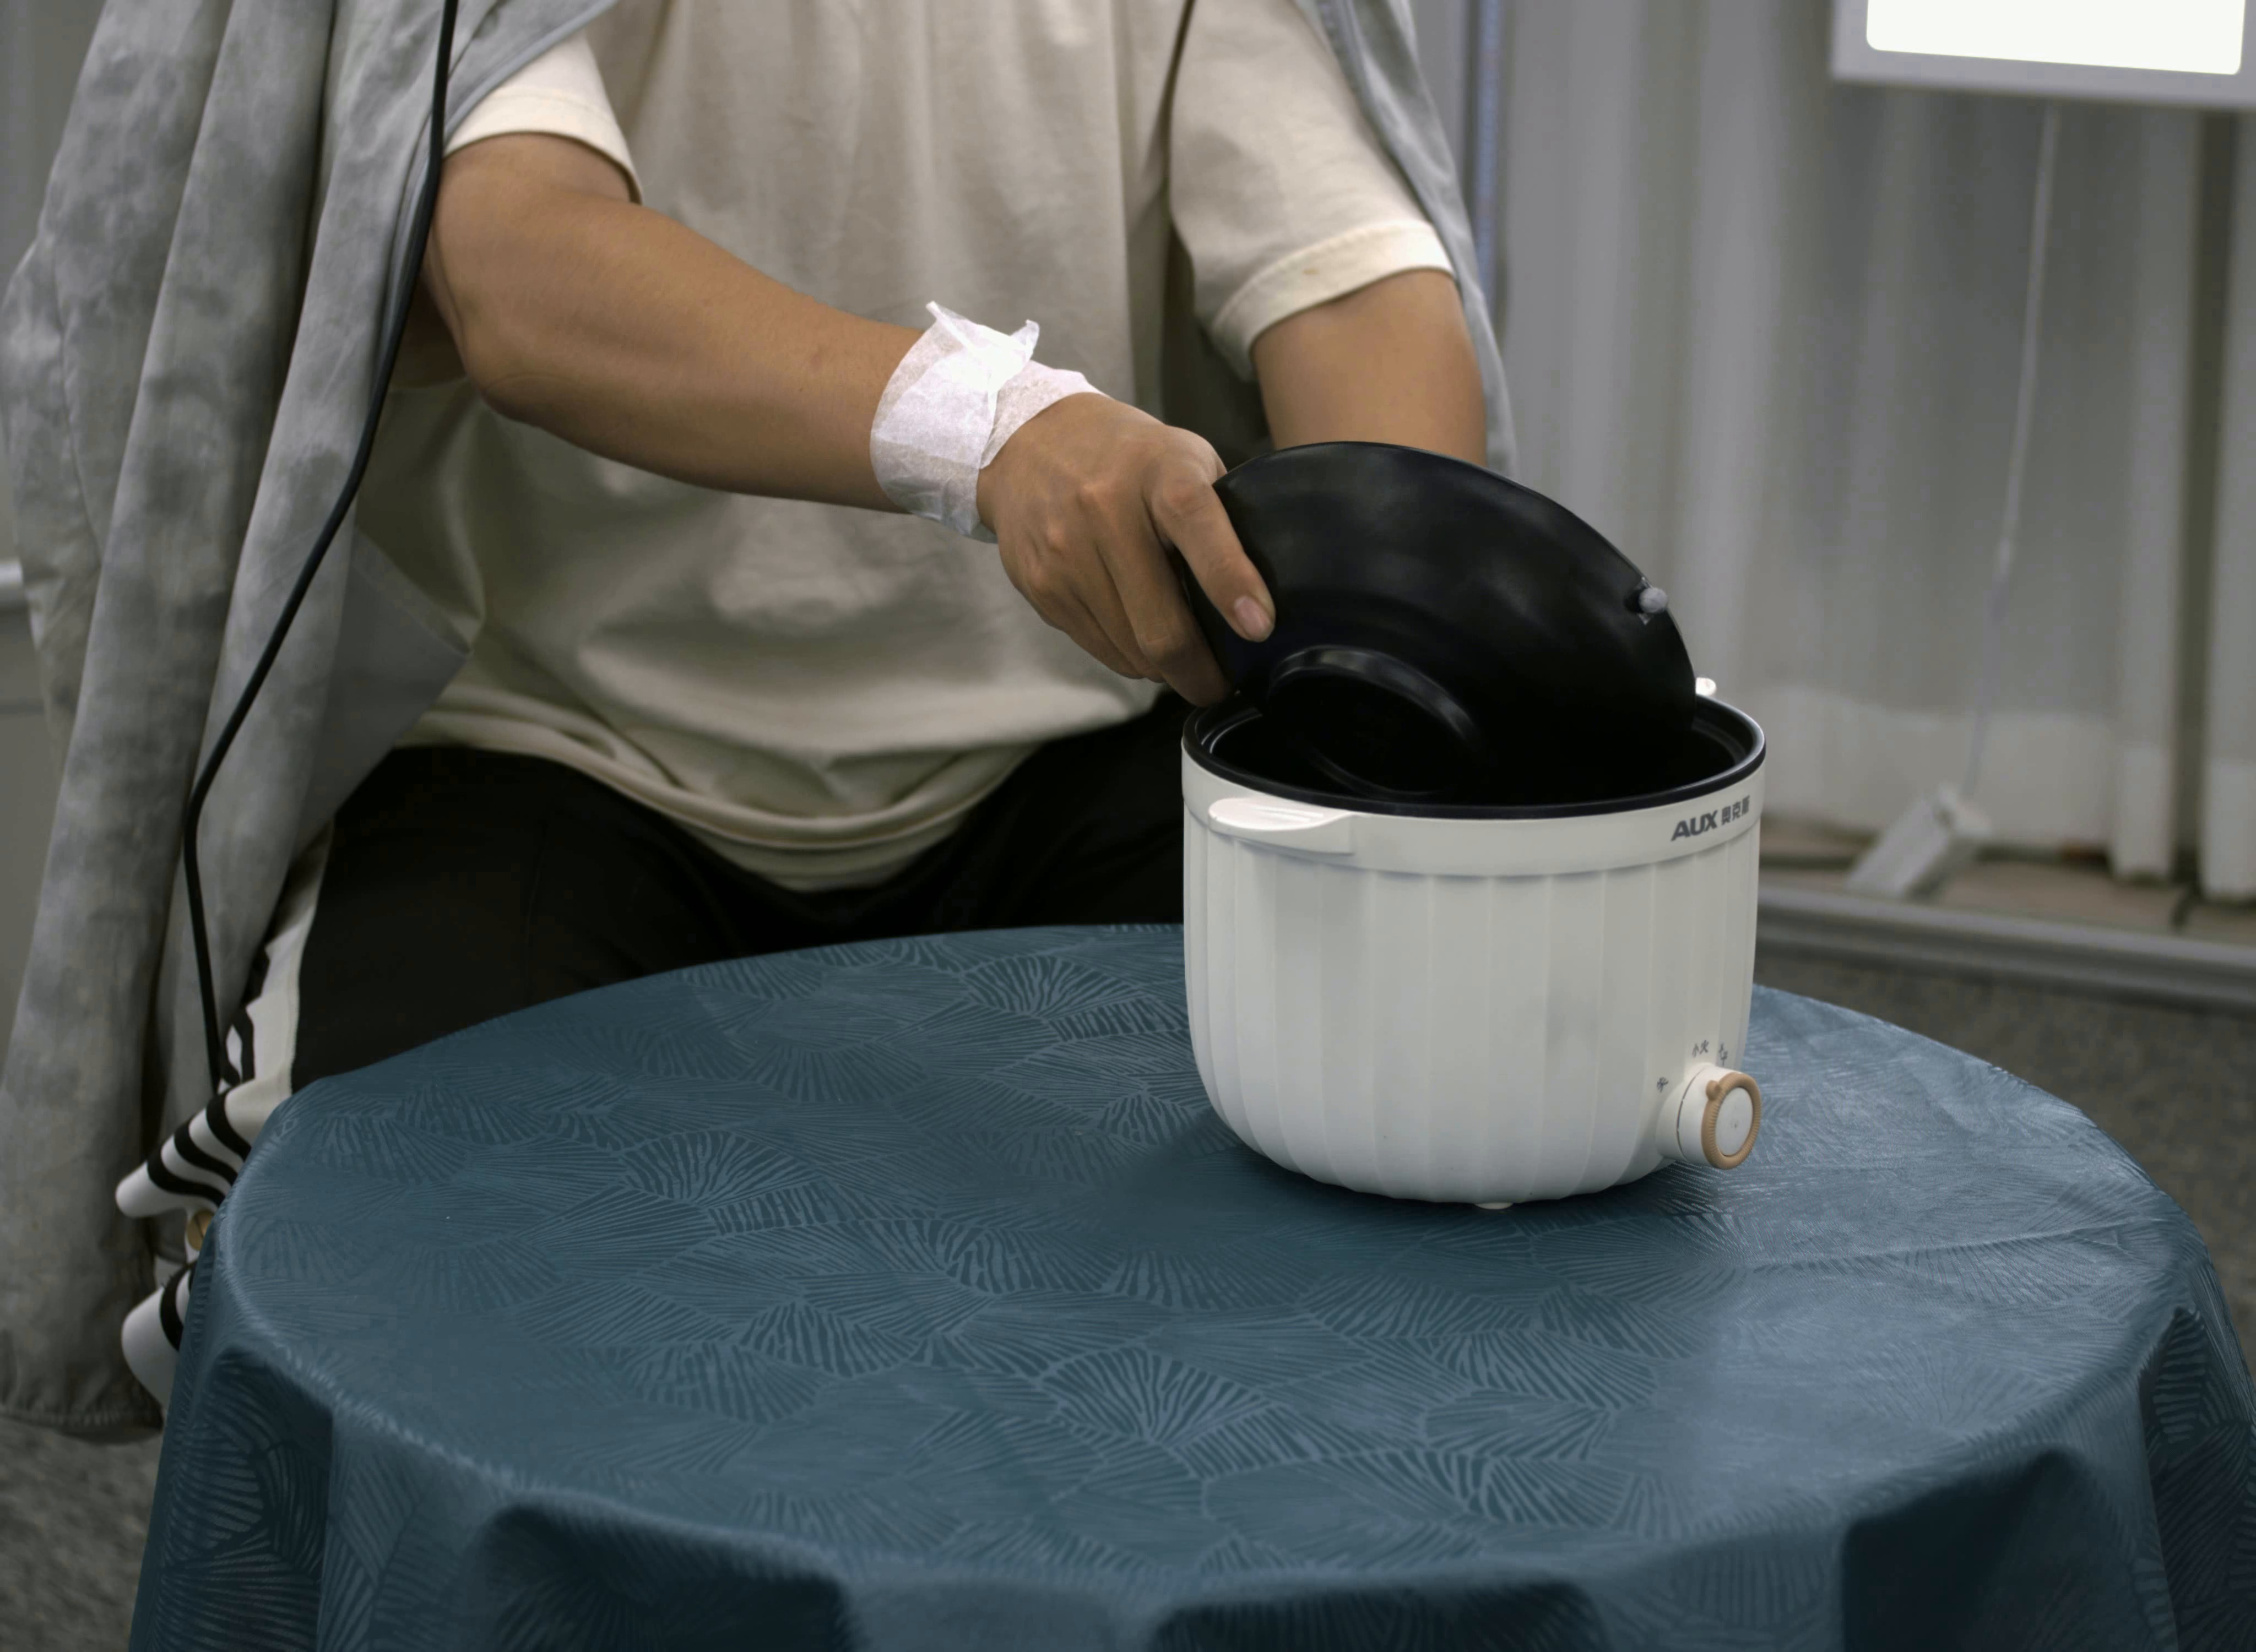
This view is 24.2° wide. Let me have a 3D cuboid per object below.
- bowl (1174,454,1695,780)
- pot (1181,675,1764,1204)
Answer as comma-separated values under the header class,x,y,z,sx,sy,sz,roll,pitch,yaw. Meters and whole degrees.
class,x,y,z,sx,sy,sz,roll,pitch,yaw
bowl,0.088,-0.048,1.622,0.170,0.138,0.066,25,60,2
pot,0.112,0.035,1.649,0.188,0.144,0.241,9,18,37
